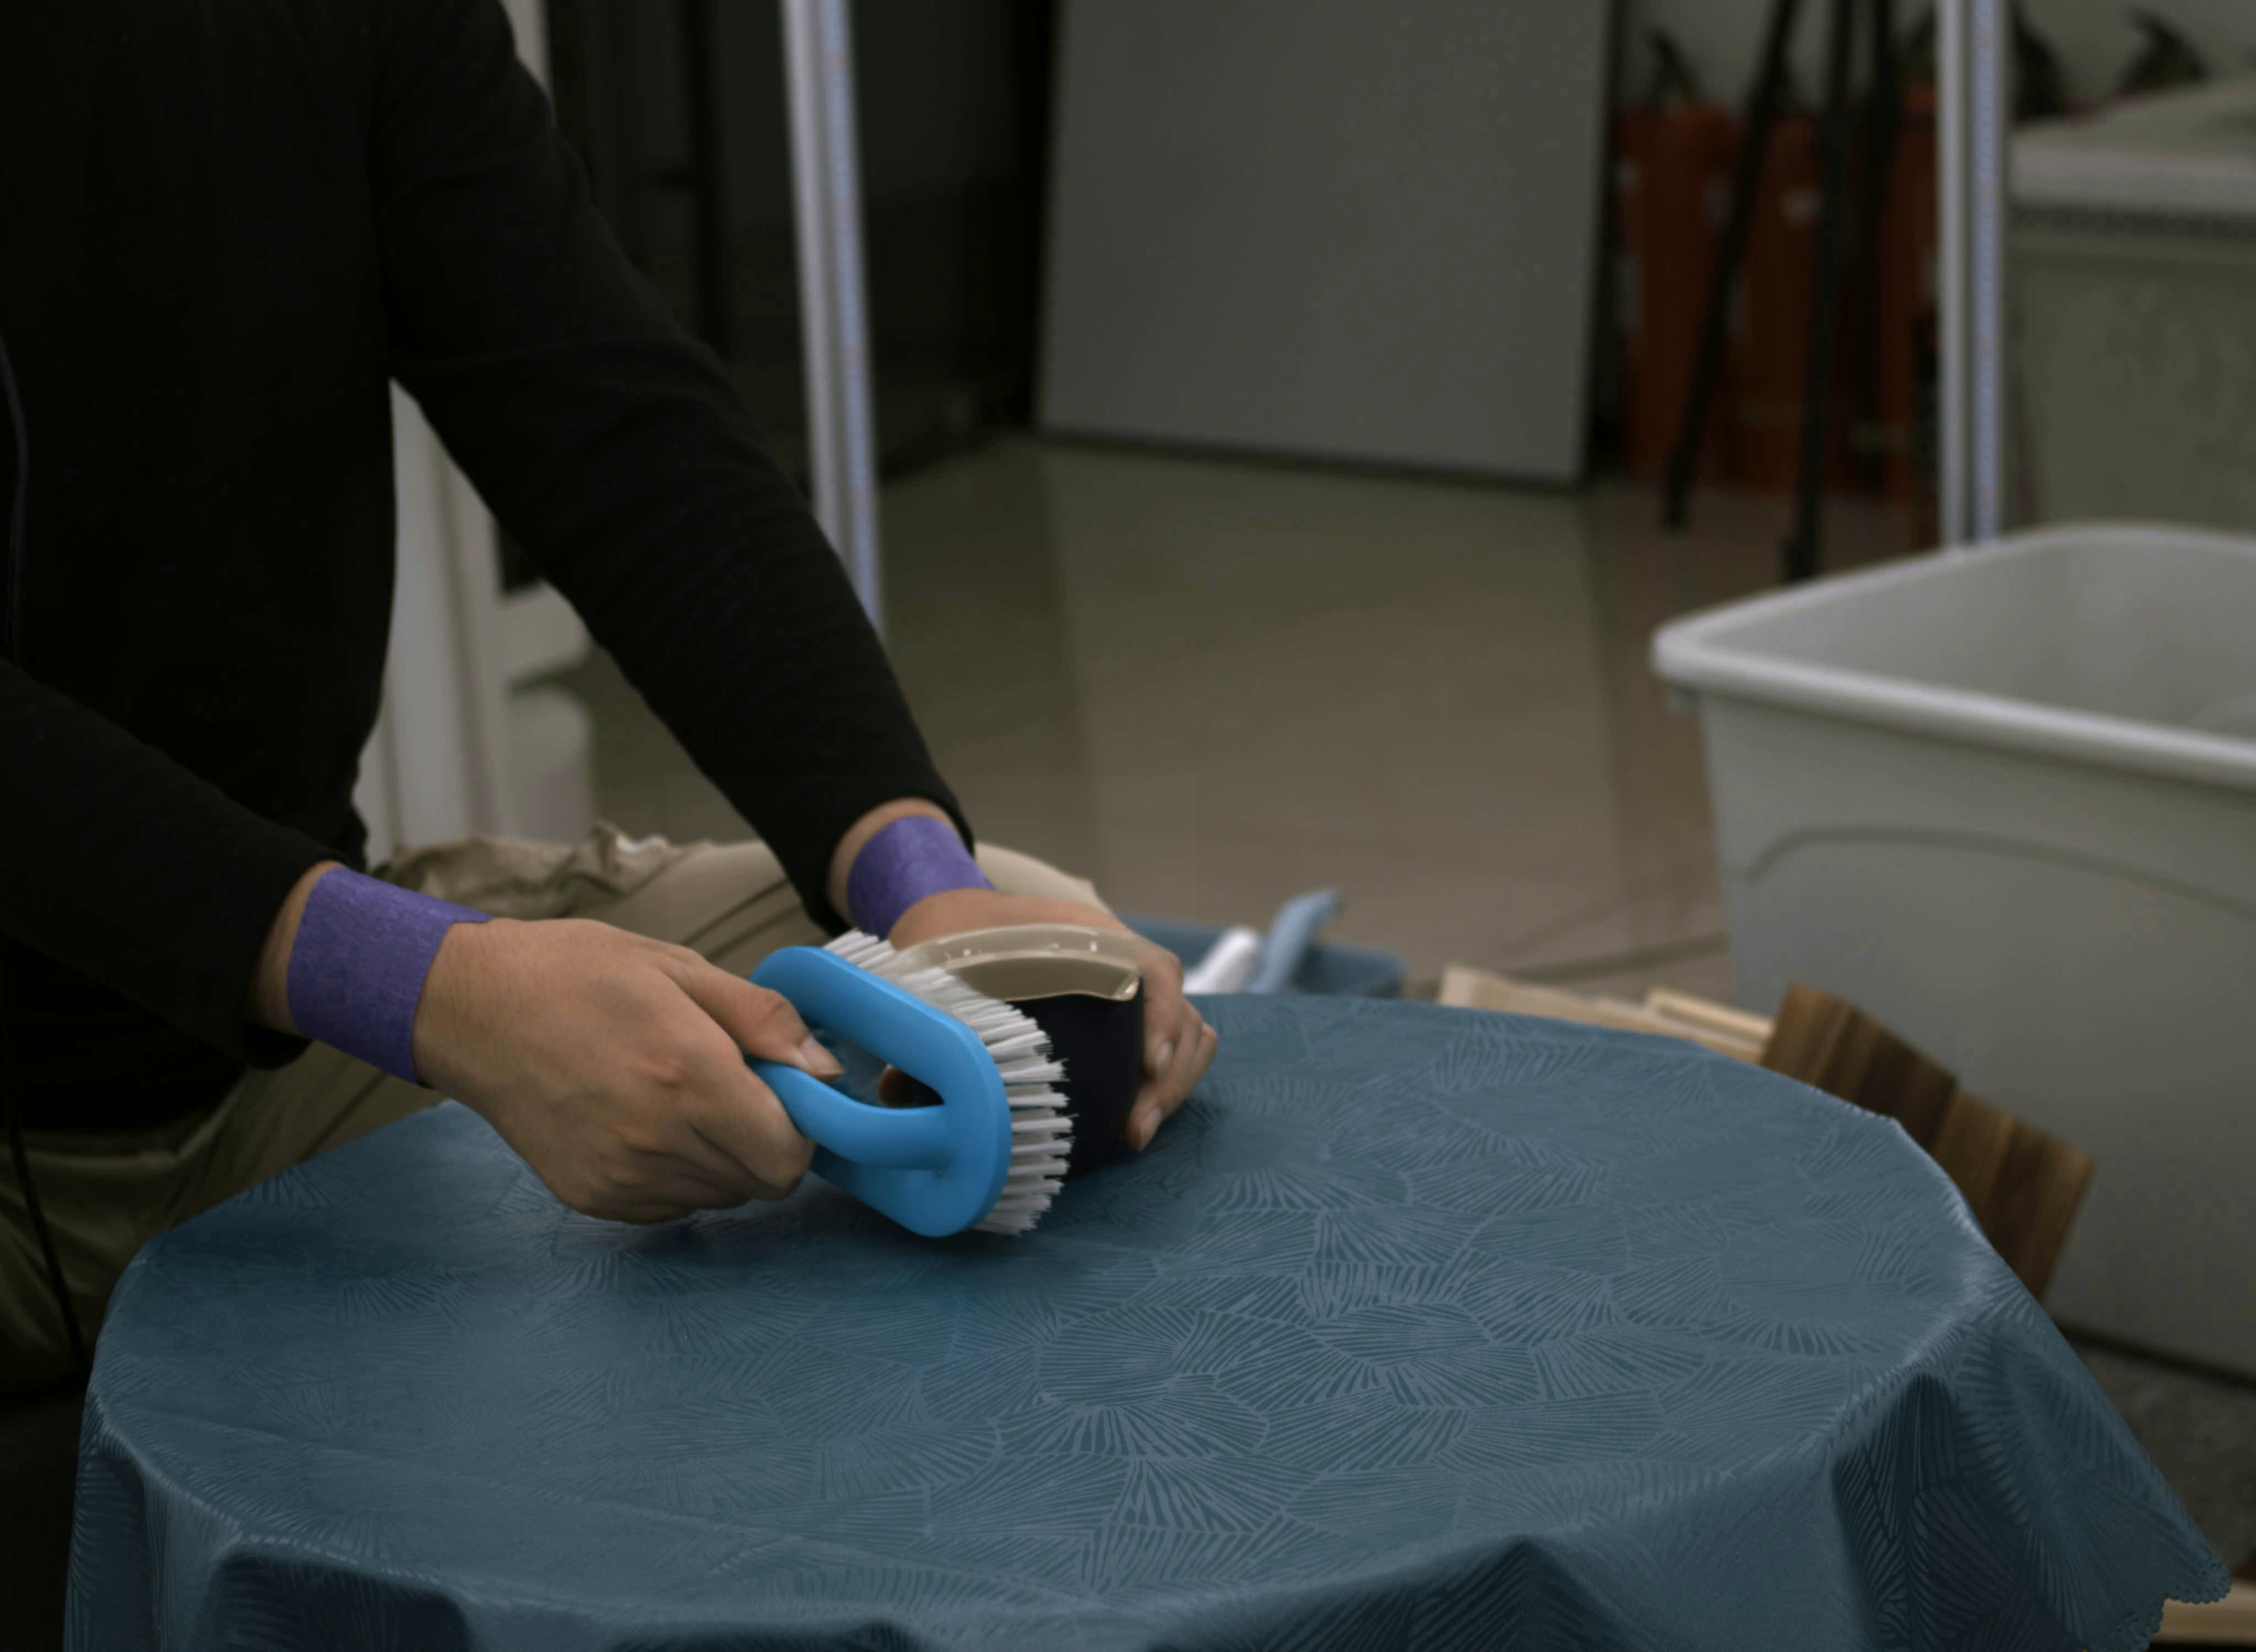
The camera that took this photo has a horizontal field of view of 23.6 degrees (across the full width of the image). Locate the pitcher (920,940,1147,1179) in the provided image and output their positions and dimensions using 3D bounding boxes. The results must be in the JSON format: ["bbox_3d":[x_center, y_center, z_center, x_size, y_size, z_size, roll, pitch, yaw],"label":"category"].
[{"bbox_3d":[-0.031,0.077,1.797,0.082,0.072,0.097,-11,17,-34],"label":"pitcher"}]

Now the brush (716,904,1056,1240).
[{"bbox_3d":[-0.088,0.081,1.738,0.062,0.085,0.143,-8,25,-39],"label":"brush"}]
